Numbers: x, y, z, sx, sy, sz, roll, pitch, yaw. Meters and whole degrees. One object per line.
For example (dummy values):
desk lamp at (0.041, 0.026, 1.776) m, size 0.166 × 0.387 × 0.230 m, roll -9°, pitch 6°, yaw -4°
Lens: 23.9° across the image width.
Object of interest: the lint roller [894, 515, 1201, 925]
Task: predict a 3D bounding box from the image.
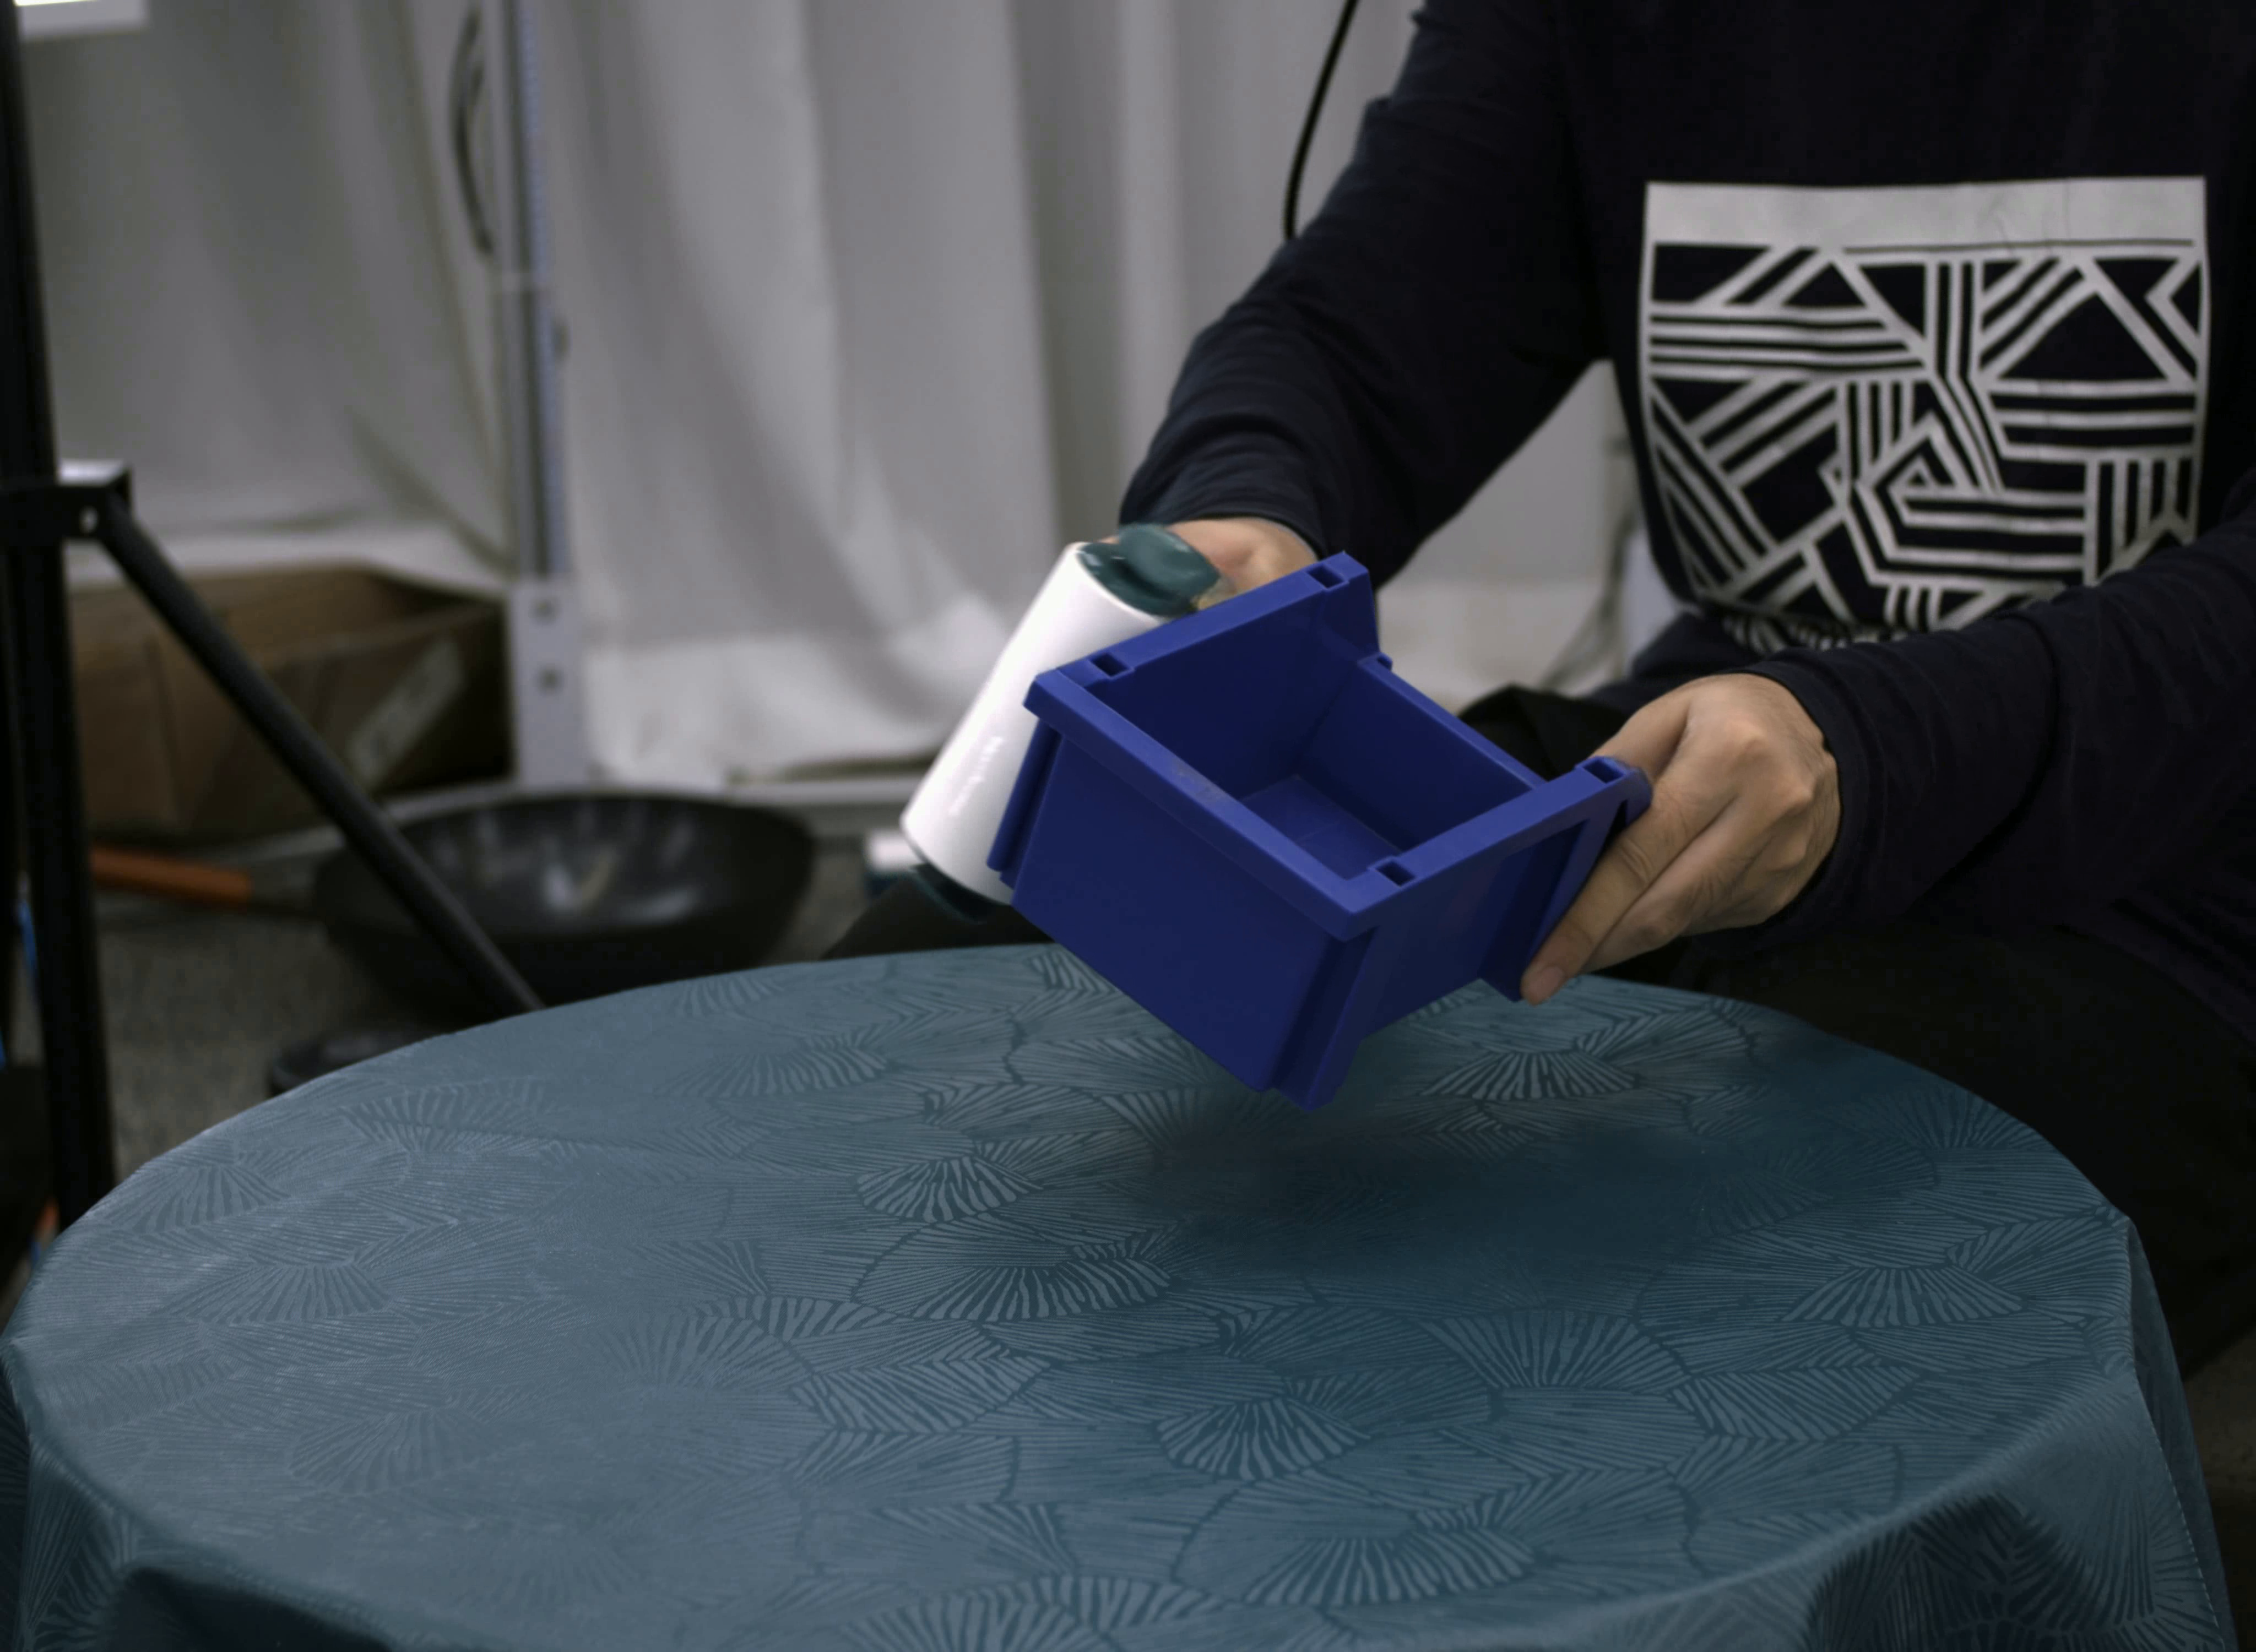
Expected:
lint roller at (-0.006, -0.043, 1.624) m, size 0.048 × 0.135 × 0.178 m, roll 34°, pitch 19°, yaw 7°

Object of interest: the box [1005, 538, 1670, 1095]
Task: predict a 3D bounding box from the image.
box at (0.063, -0.008, 1.544) m, size 0.127 × 0.082 × 0.176 m, roll 37°, pitch 39°, yaw 27°
